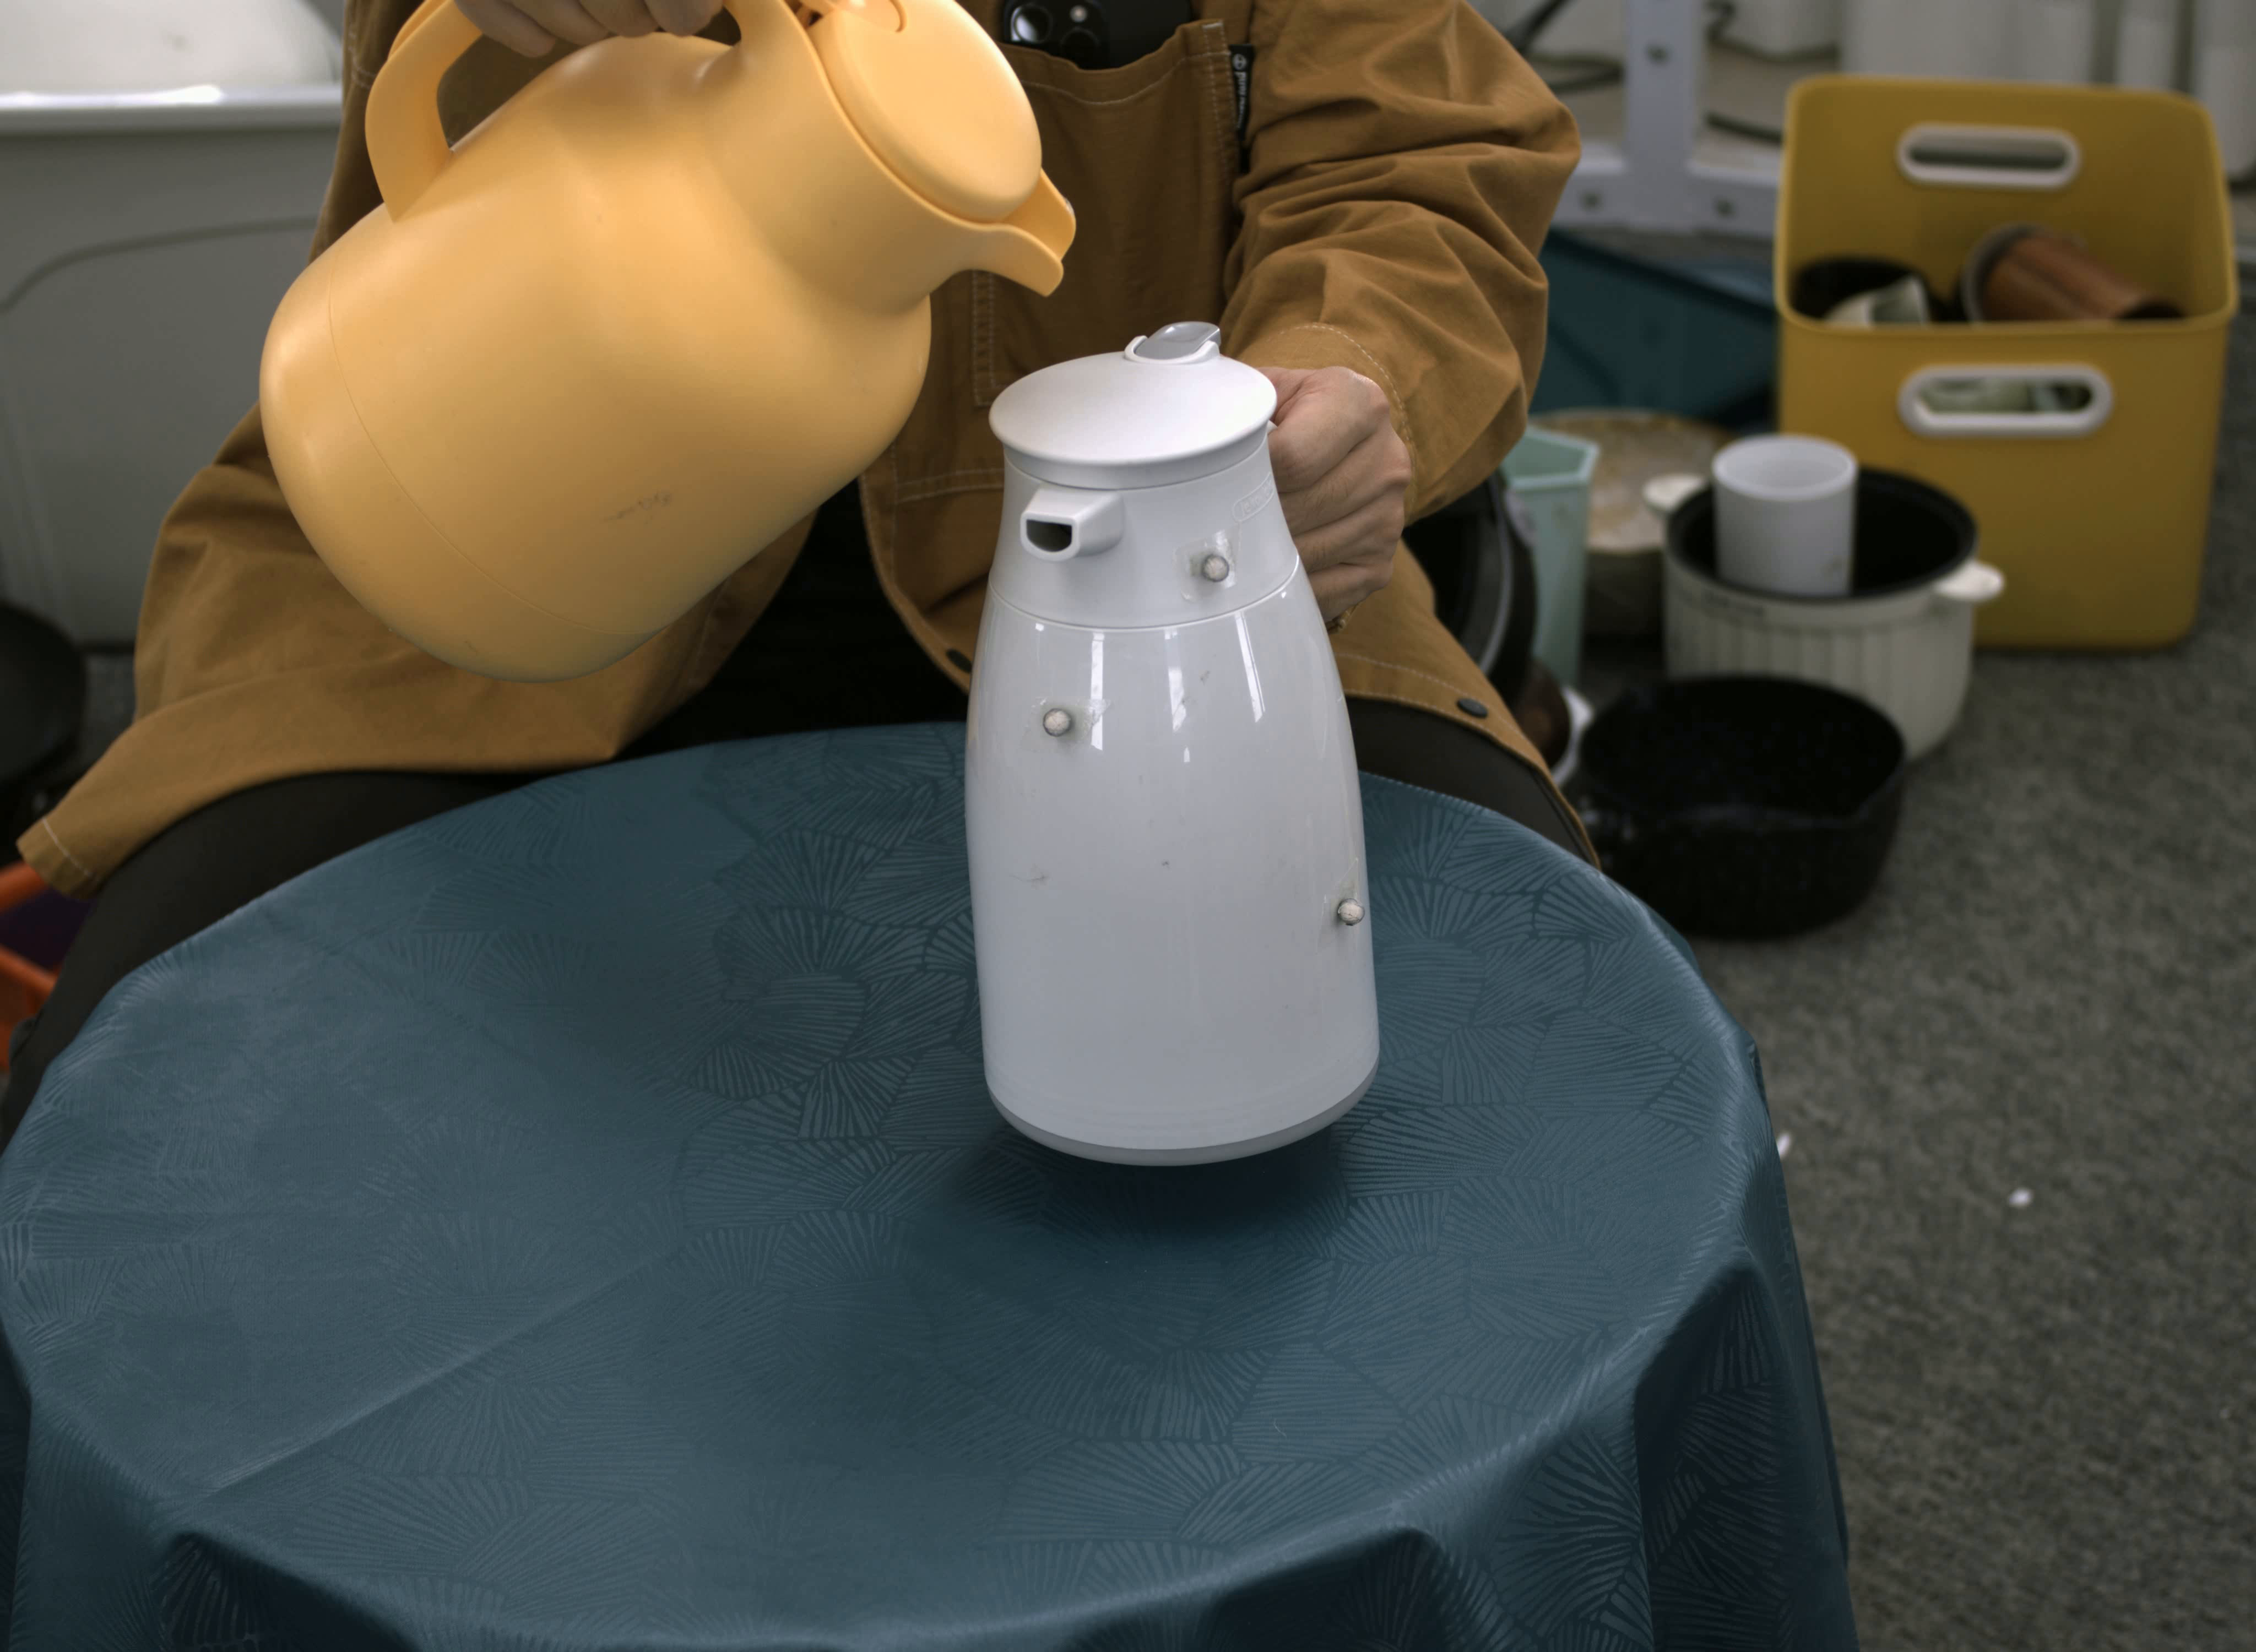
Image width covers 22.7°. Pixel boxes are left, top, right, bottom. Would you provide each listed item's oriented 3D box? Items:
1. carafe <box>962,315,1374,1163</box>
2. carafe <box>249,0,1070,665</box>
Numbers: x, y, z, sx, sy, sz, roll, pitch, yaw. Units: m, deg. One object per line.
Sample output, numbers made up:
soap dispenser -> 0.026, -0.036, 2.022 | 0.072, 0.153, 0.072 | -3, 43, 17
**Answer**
carafe -> 0.016, -0.039, 1.838 | 0.131, 0.246, 0.170 | 7, 26, 24
carafe -> -0.159, -0.185, 1.779 | 0.256, 0.201, 0.166 | -33, 22, 28
